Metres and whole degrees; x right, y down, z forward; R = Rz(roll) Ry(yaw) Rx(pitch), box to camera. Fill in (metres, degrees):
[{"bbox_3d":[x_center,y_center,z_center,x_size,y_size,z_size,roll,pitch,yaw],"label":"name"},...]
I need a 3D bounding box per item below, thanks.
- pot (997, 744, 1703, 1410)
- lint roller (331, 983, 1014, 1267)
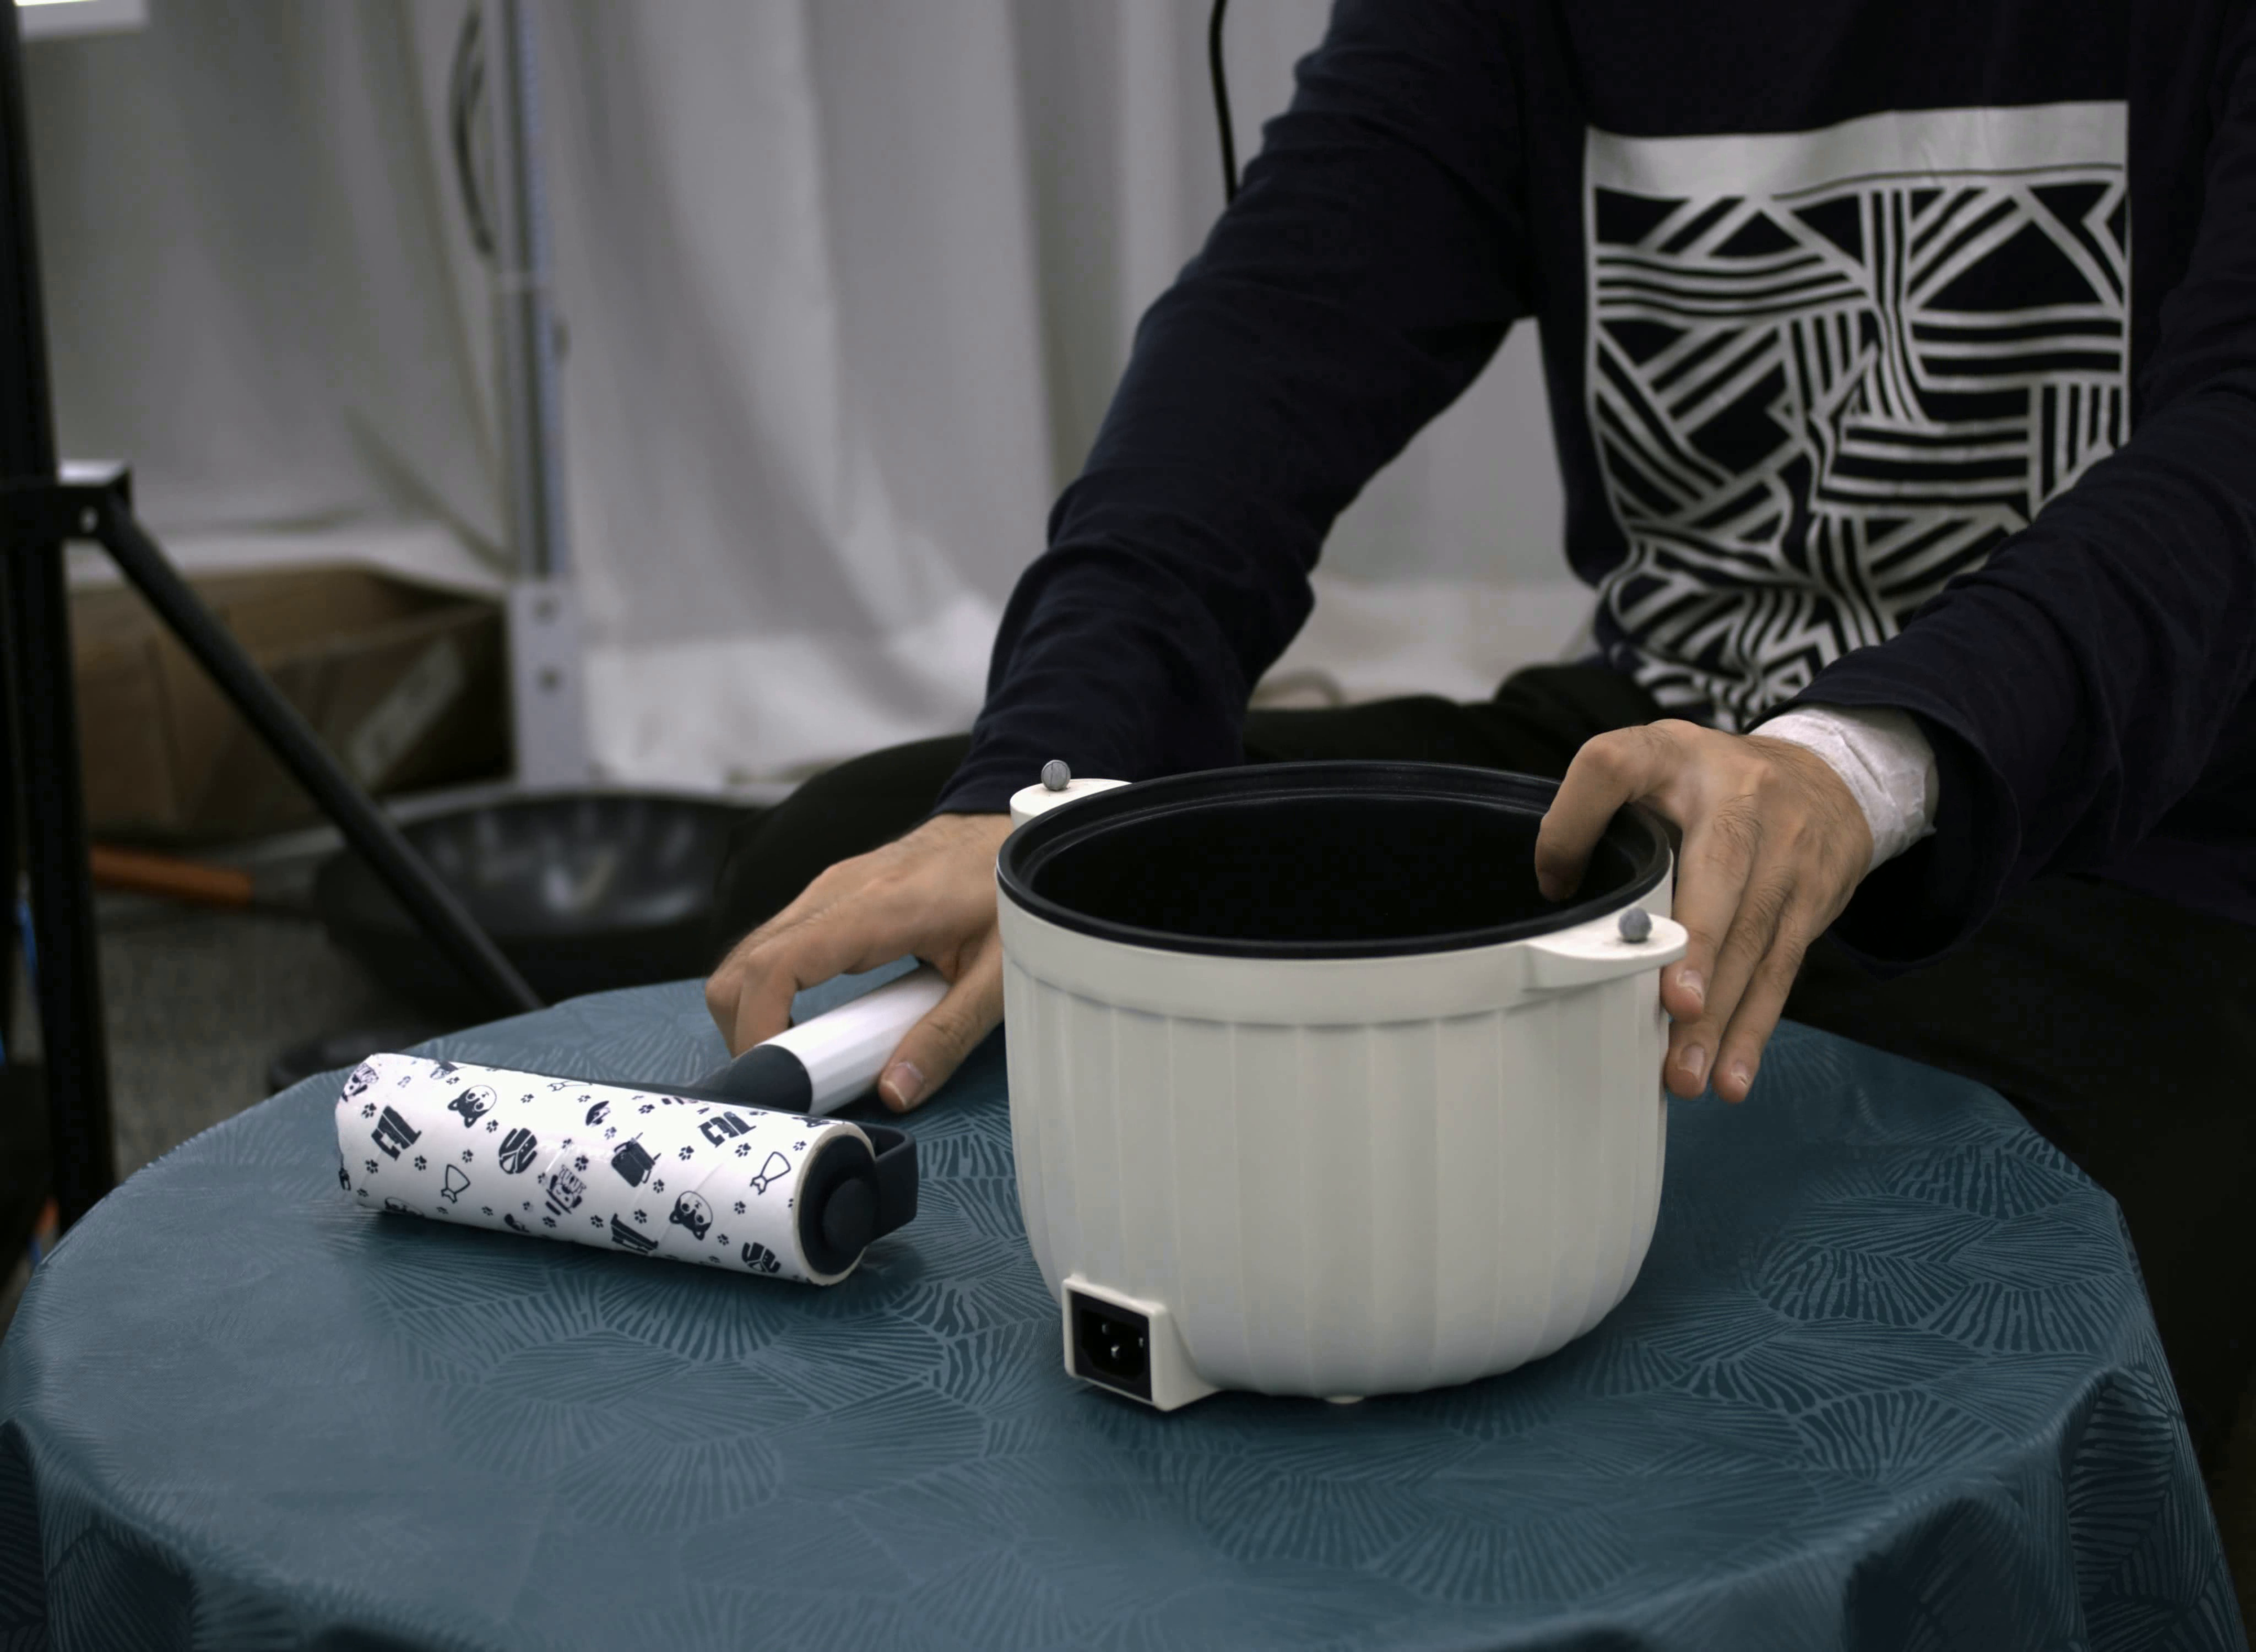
[{"bbox_3d":[0.060,0.067,1.438,0.186,0.142,0.246,-19,25,-39],"label":"pot"},{"bbox_3d":[-0.104,0.076,1.619,0.179,0.050,0.242,5,14,29],"label":"lint roller"}]
